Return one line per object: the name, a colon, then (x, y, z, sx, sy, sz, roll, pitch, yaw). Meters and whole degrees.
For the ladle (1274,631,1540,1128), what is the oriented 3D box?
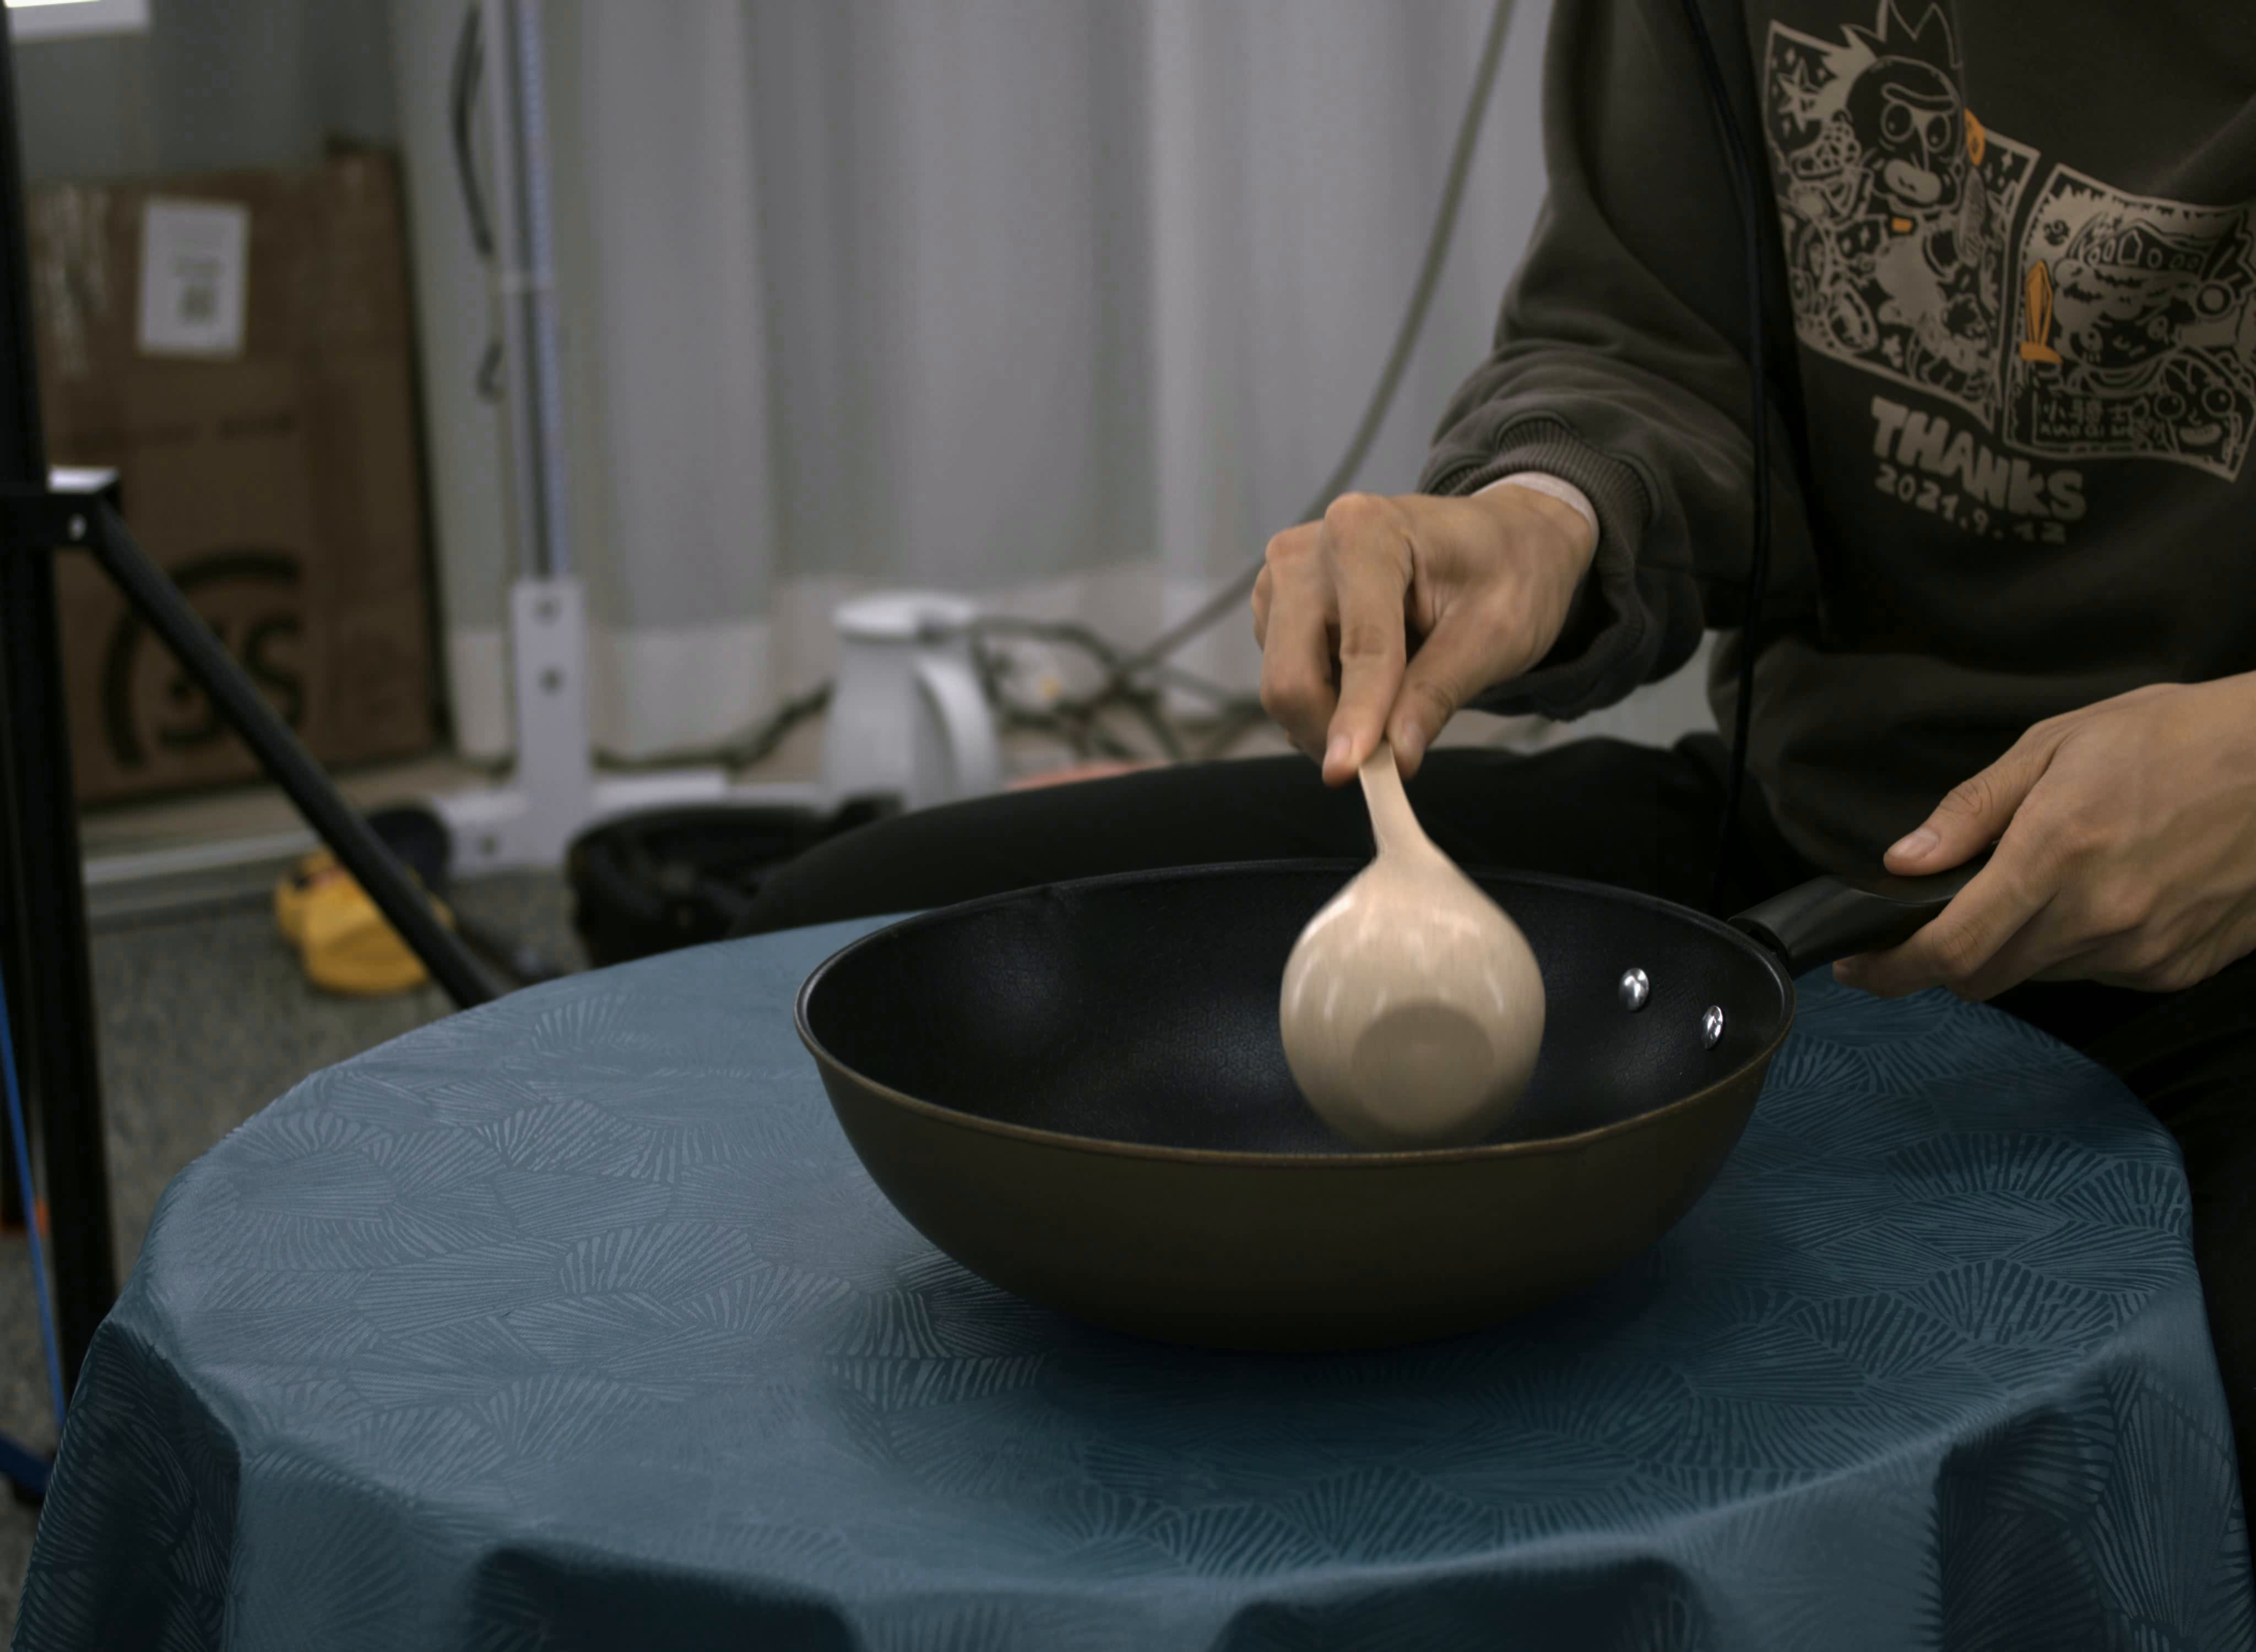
ladle: (0.074, 0.020, 1.527, 0.072, 0.073, 0.256, 1, 21, -1)

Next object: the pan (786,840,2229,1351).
pan: (0.124, 0.070, 1.524, 0.453, 0.087, 0.294, -8, 16, -25)
